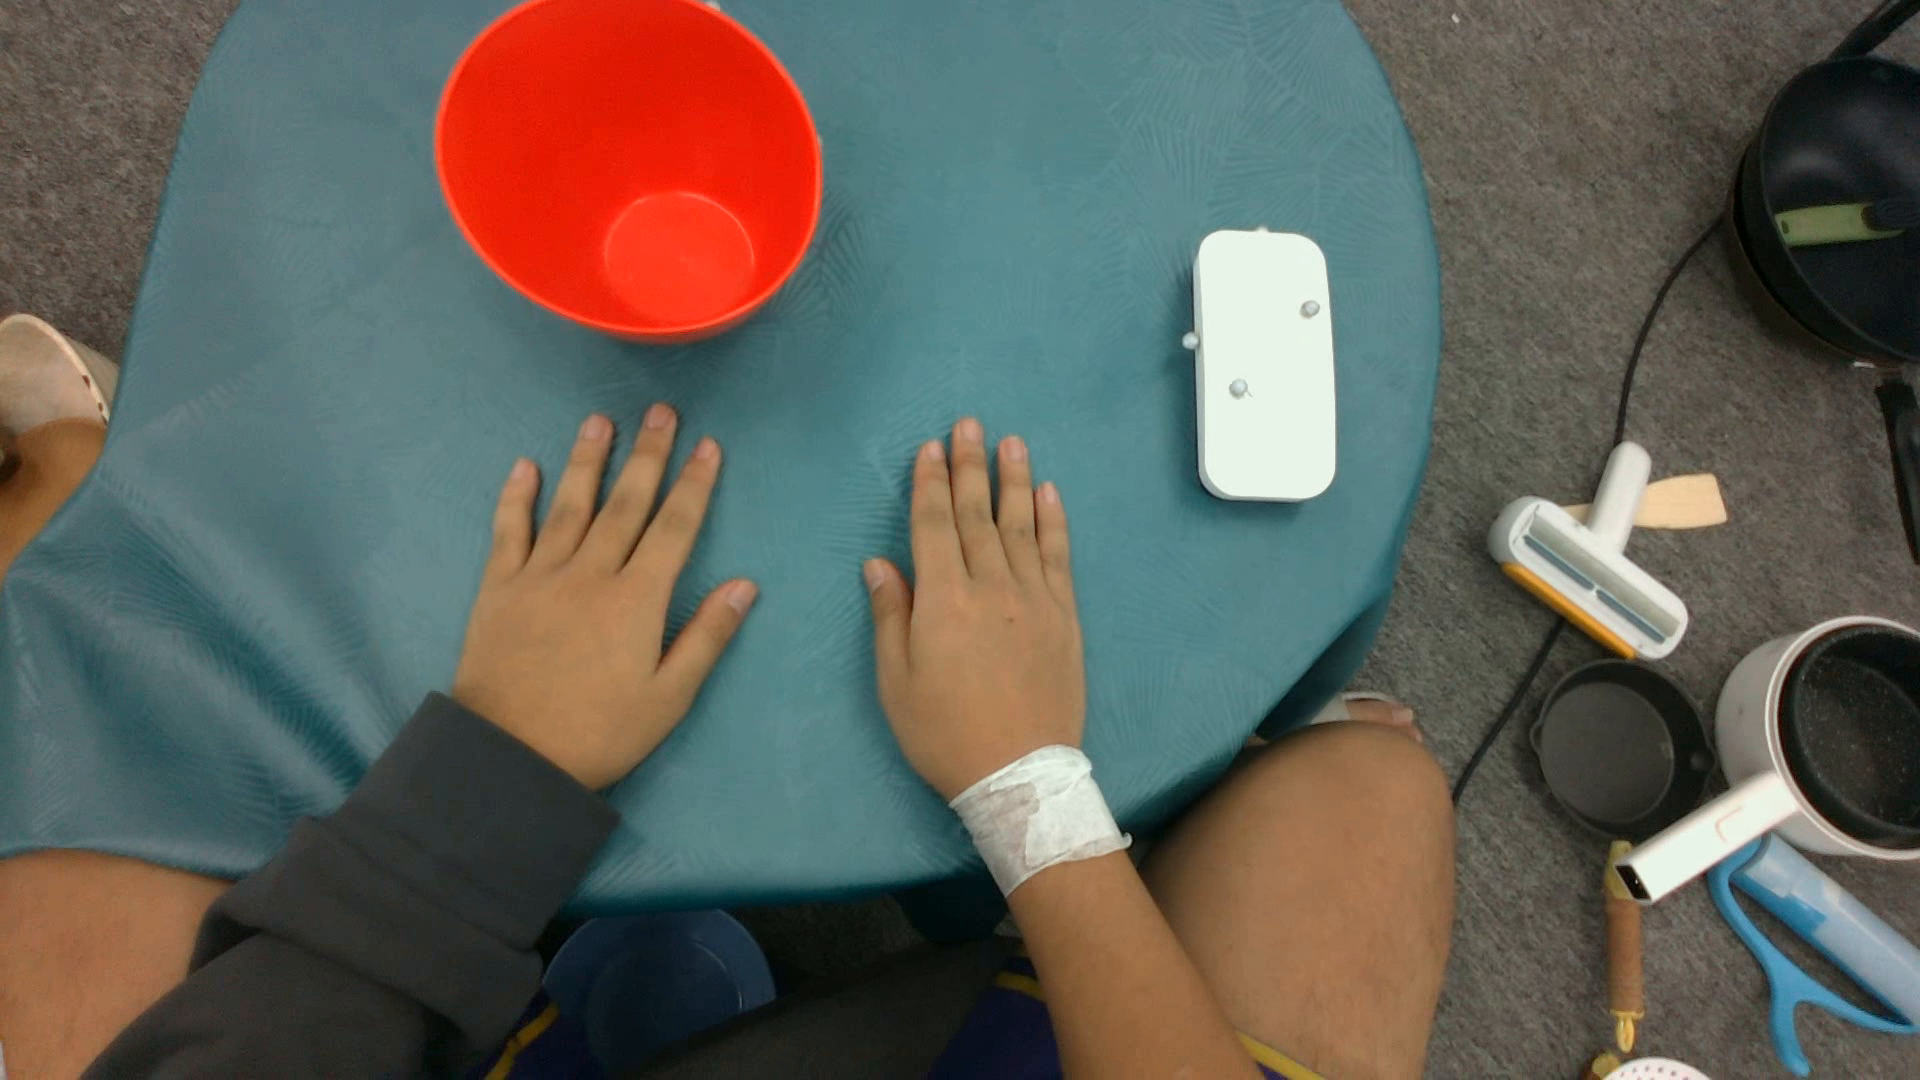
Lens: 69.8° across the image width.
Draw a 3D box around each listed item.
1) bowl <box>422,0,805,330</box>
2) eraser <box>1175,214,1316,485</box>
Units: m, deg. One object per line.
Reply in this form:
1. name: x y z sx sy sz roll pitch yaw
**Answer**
1. bowl: -0.141 -0.151 0.589 0.148 0.104 0.148 2 76 -8
2. eraser: 0.131 -0.090 0.645 0.063 0.034 0.131 3 74 -6
